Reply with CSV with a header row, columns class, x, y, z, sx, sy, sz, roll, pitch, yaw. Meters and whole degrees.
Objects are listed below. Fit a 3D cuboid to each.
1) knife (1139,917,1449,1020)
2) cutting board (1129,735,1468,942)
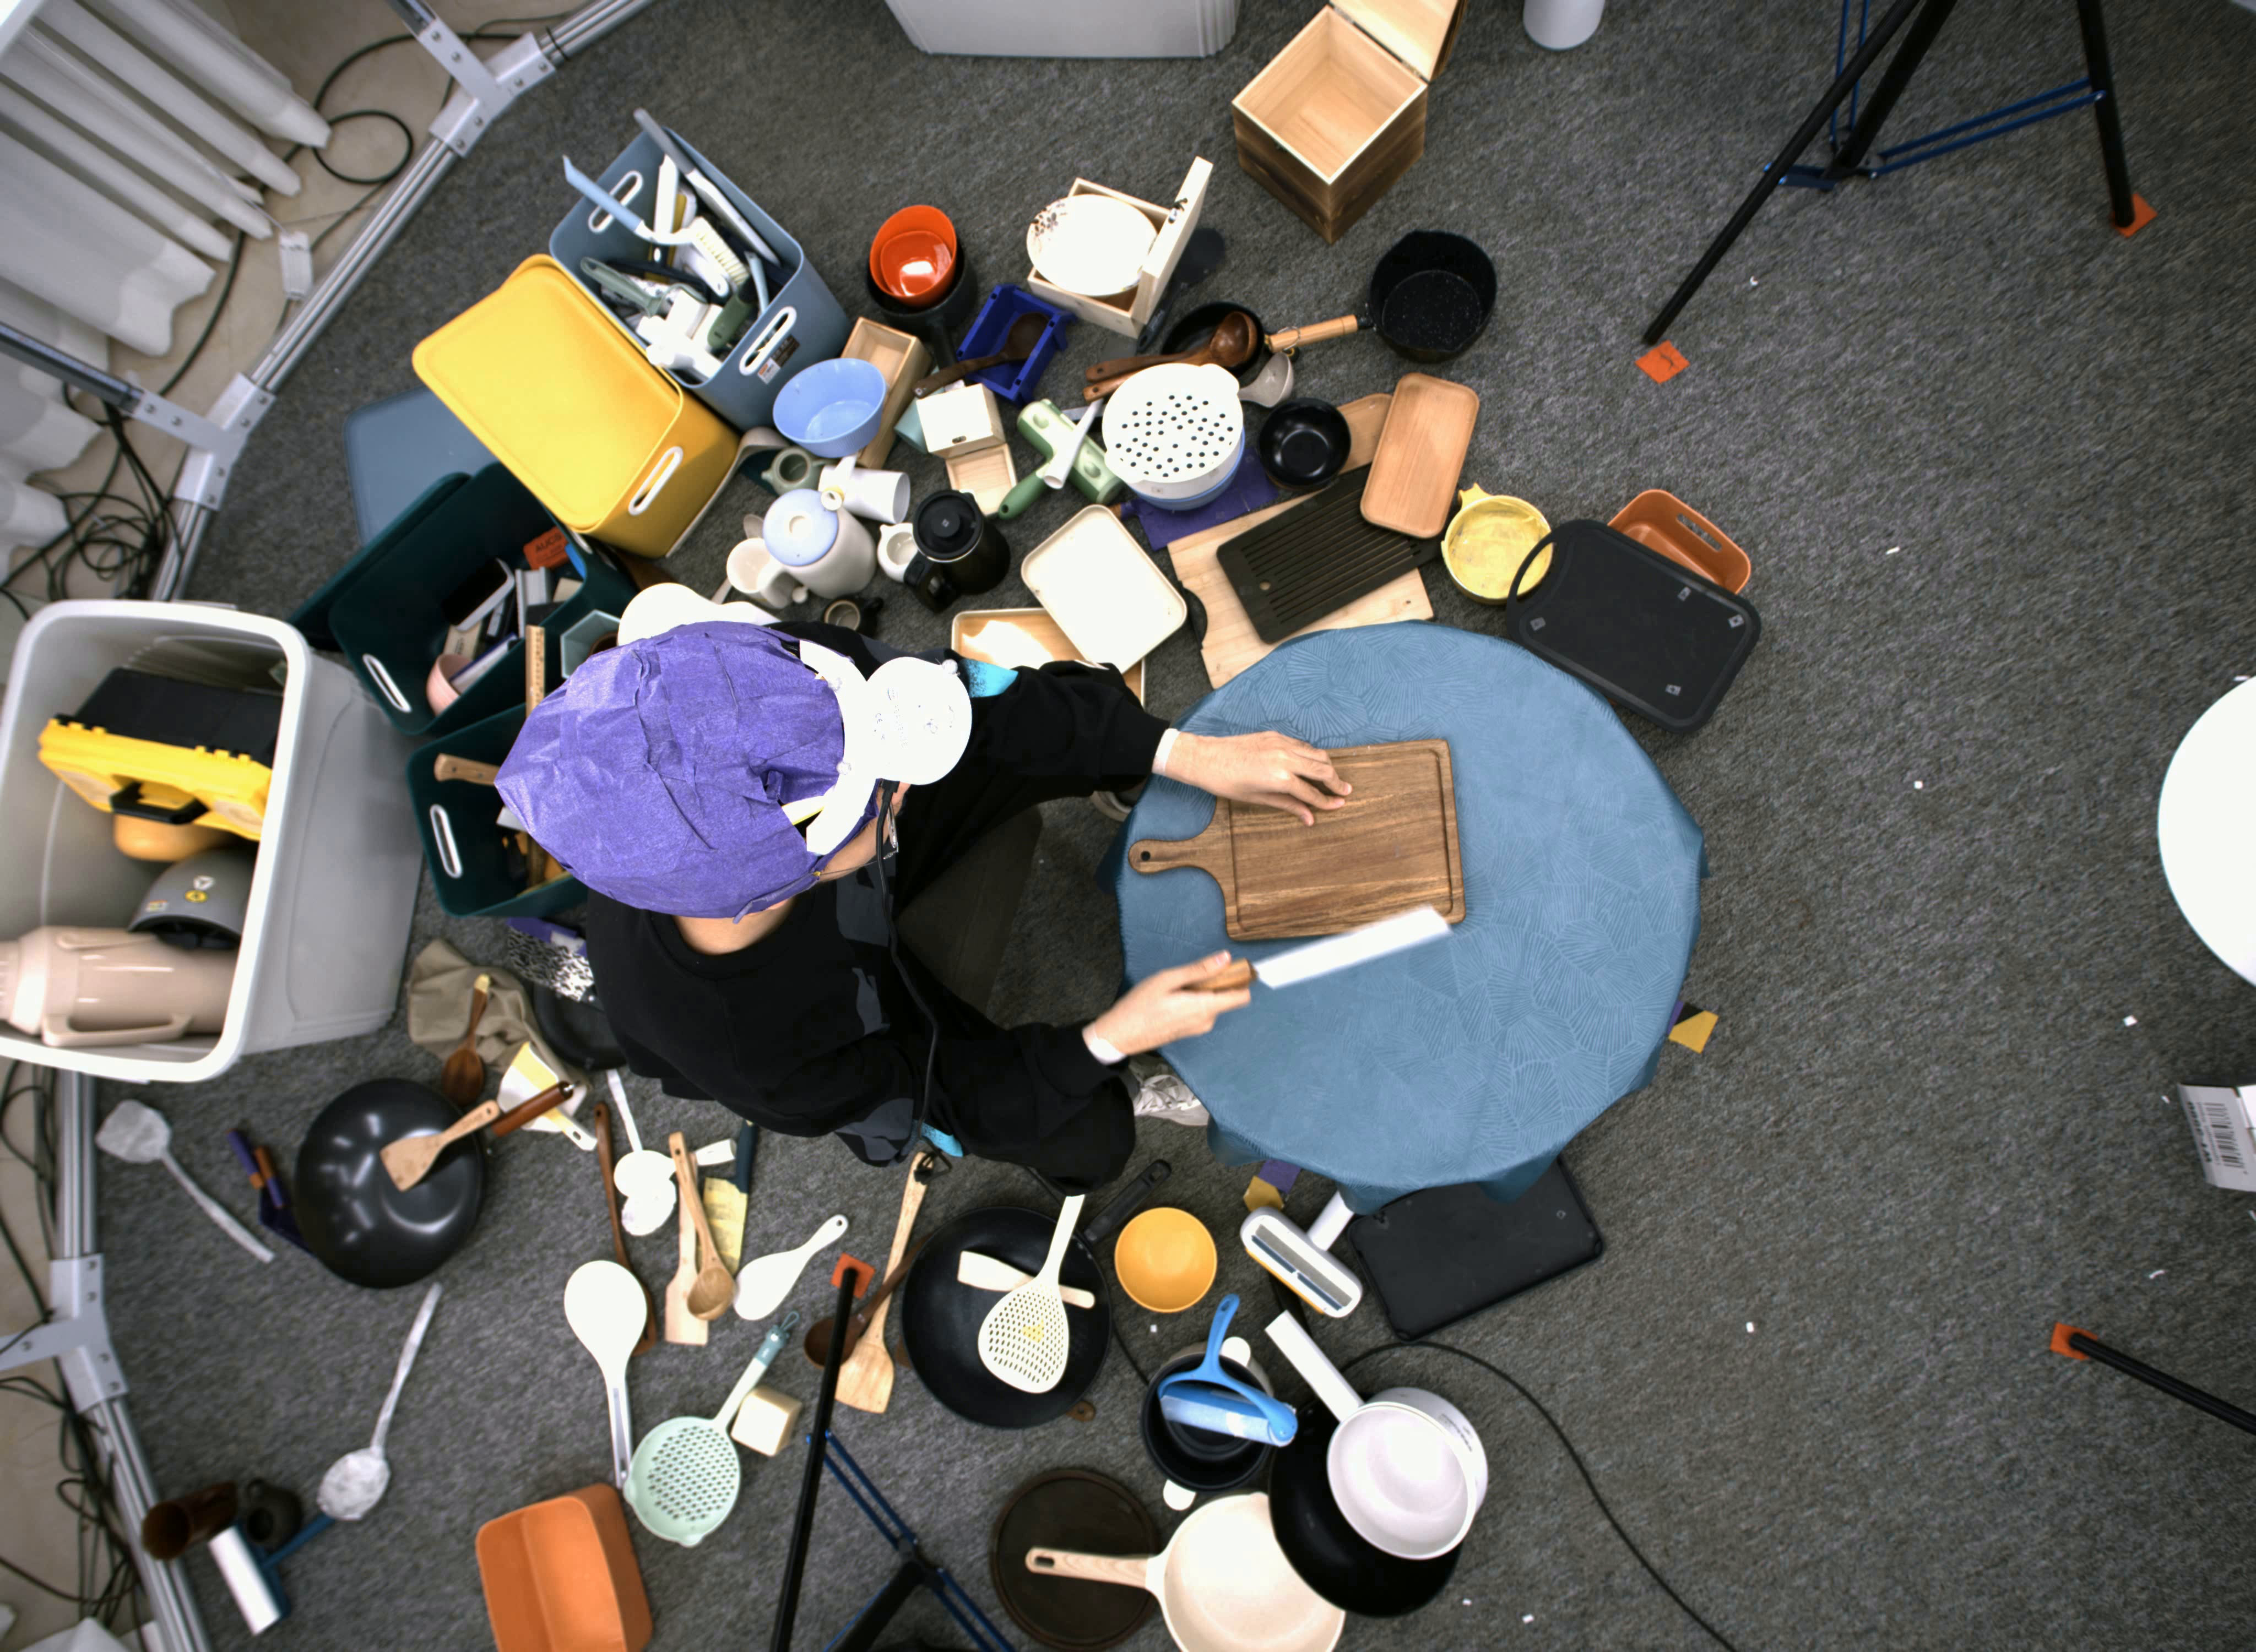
class,x,y,z,sx,sy,sz,roll,pitch,yaw
knife,0.162,0.142,1.351,0.309,0.093,0.020,-20,65,21
cutting board,0.175,0.018,1.475,0.354,0.023,0.200,-6,84,12
